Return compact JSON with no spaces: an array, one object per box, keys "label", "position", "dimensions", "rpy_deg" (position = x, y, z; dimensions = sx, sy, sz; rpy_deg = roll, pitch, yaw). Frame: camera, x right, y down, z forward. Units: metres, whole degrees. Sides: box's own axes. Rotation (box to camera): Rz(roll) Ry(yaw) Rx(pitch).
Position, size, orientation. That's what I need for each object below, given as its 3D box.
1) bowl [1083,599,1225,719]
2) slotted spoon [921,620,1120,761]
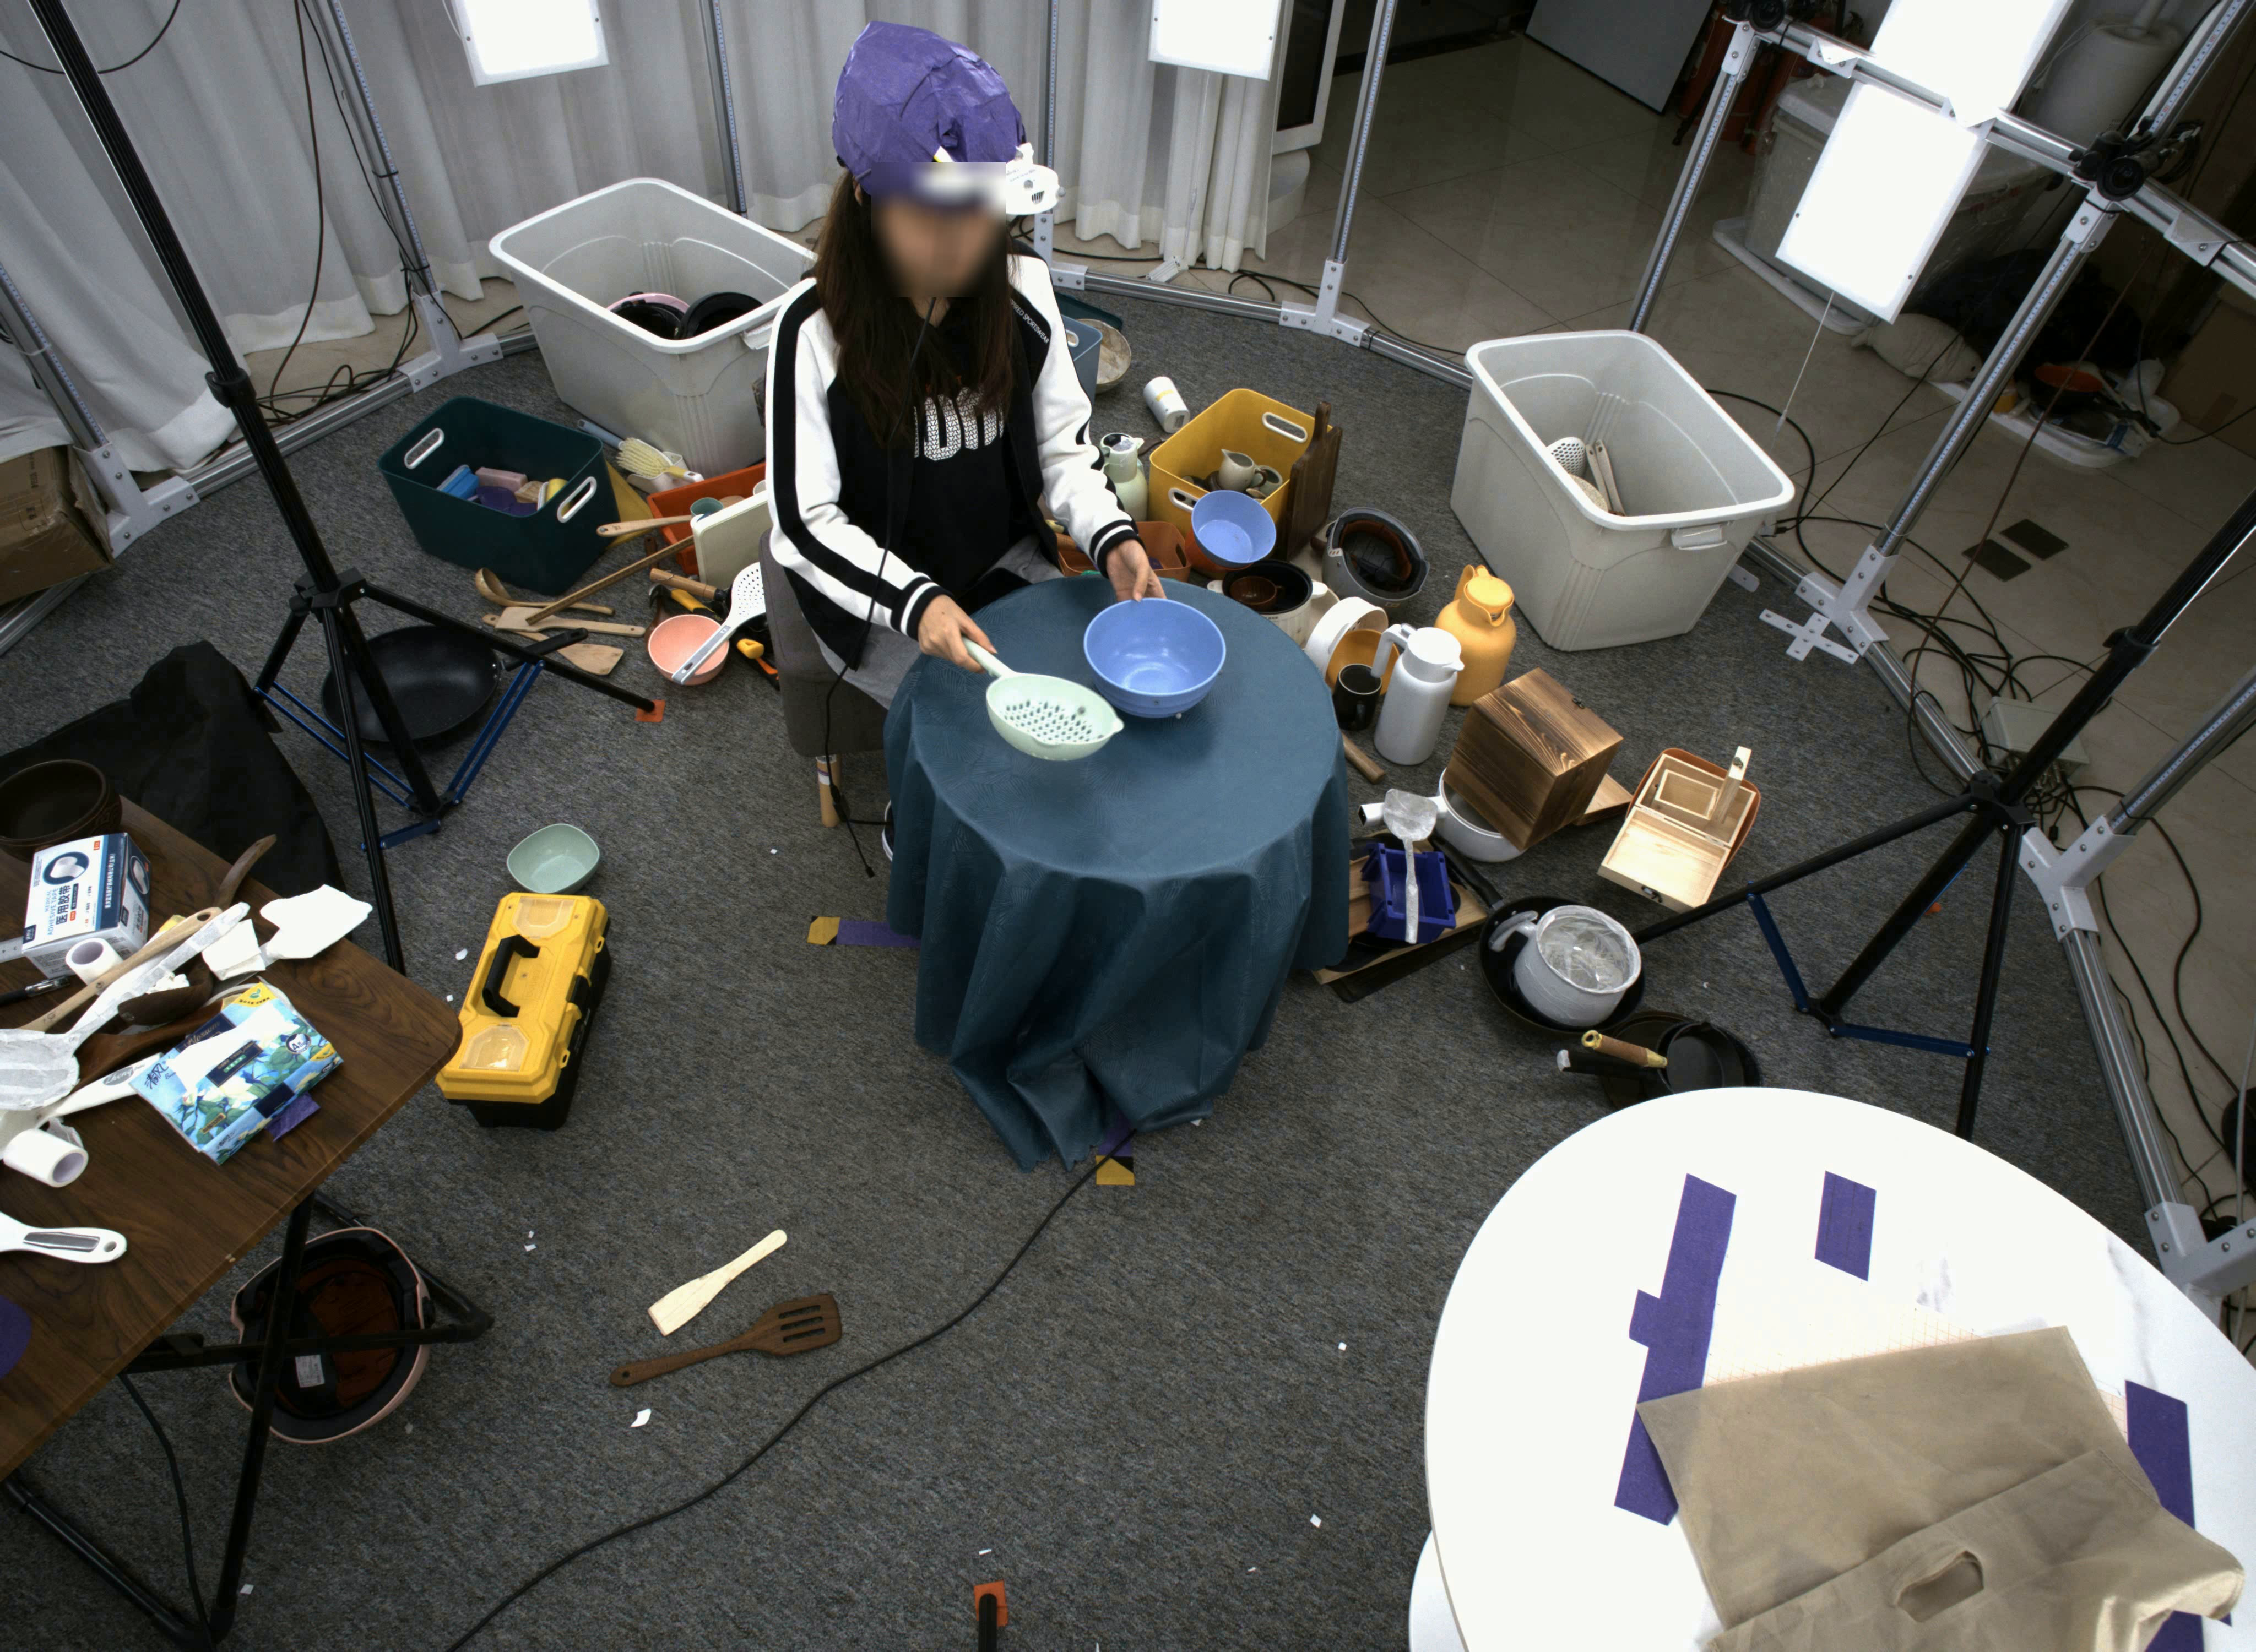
[{"label":"bowl","position":[0.034,-0.219,1.802],"dimensions":[0.196,0.093,0.201],"rpy_deg":[2,49,-2]},{"label":"slotted spoon","position":[-0.165,-0.192,1.683],"dimensions":[0.169,0.074,0.365],"rpy_deg":[-10,47,-43]}]
